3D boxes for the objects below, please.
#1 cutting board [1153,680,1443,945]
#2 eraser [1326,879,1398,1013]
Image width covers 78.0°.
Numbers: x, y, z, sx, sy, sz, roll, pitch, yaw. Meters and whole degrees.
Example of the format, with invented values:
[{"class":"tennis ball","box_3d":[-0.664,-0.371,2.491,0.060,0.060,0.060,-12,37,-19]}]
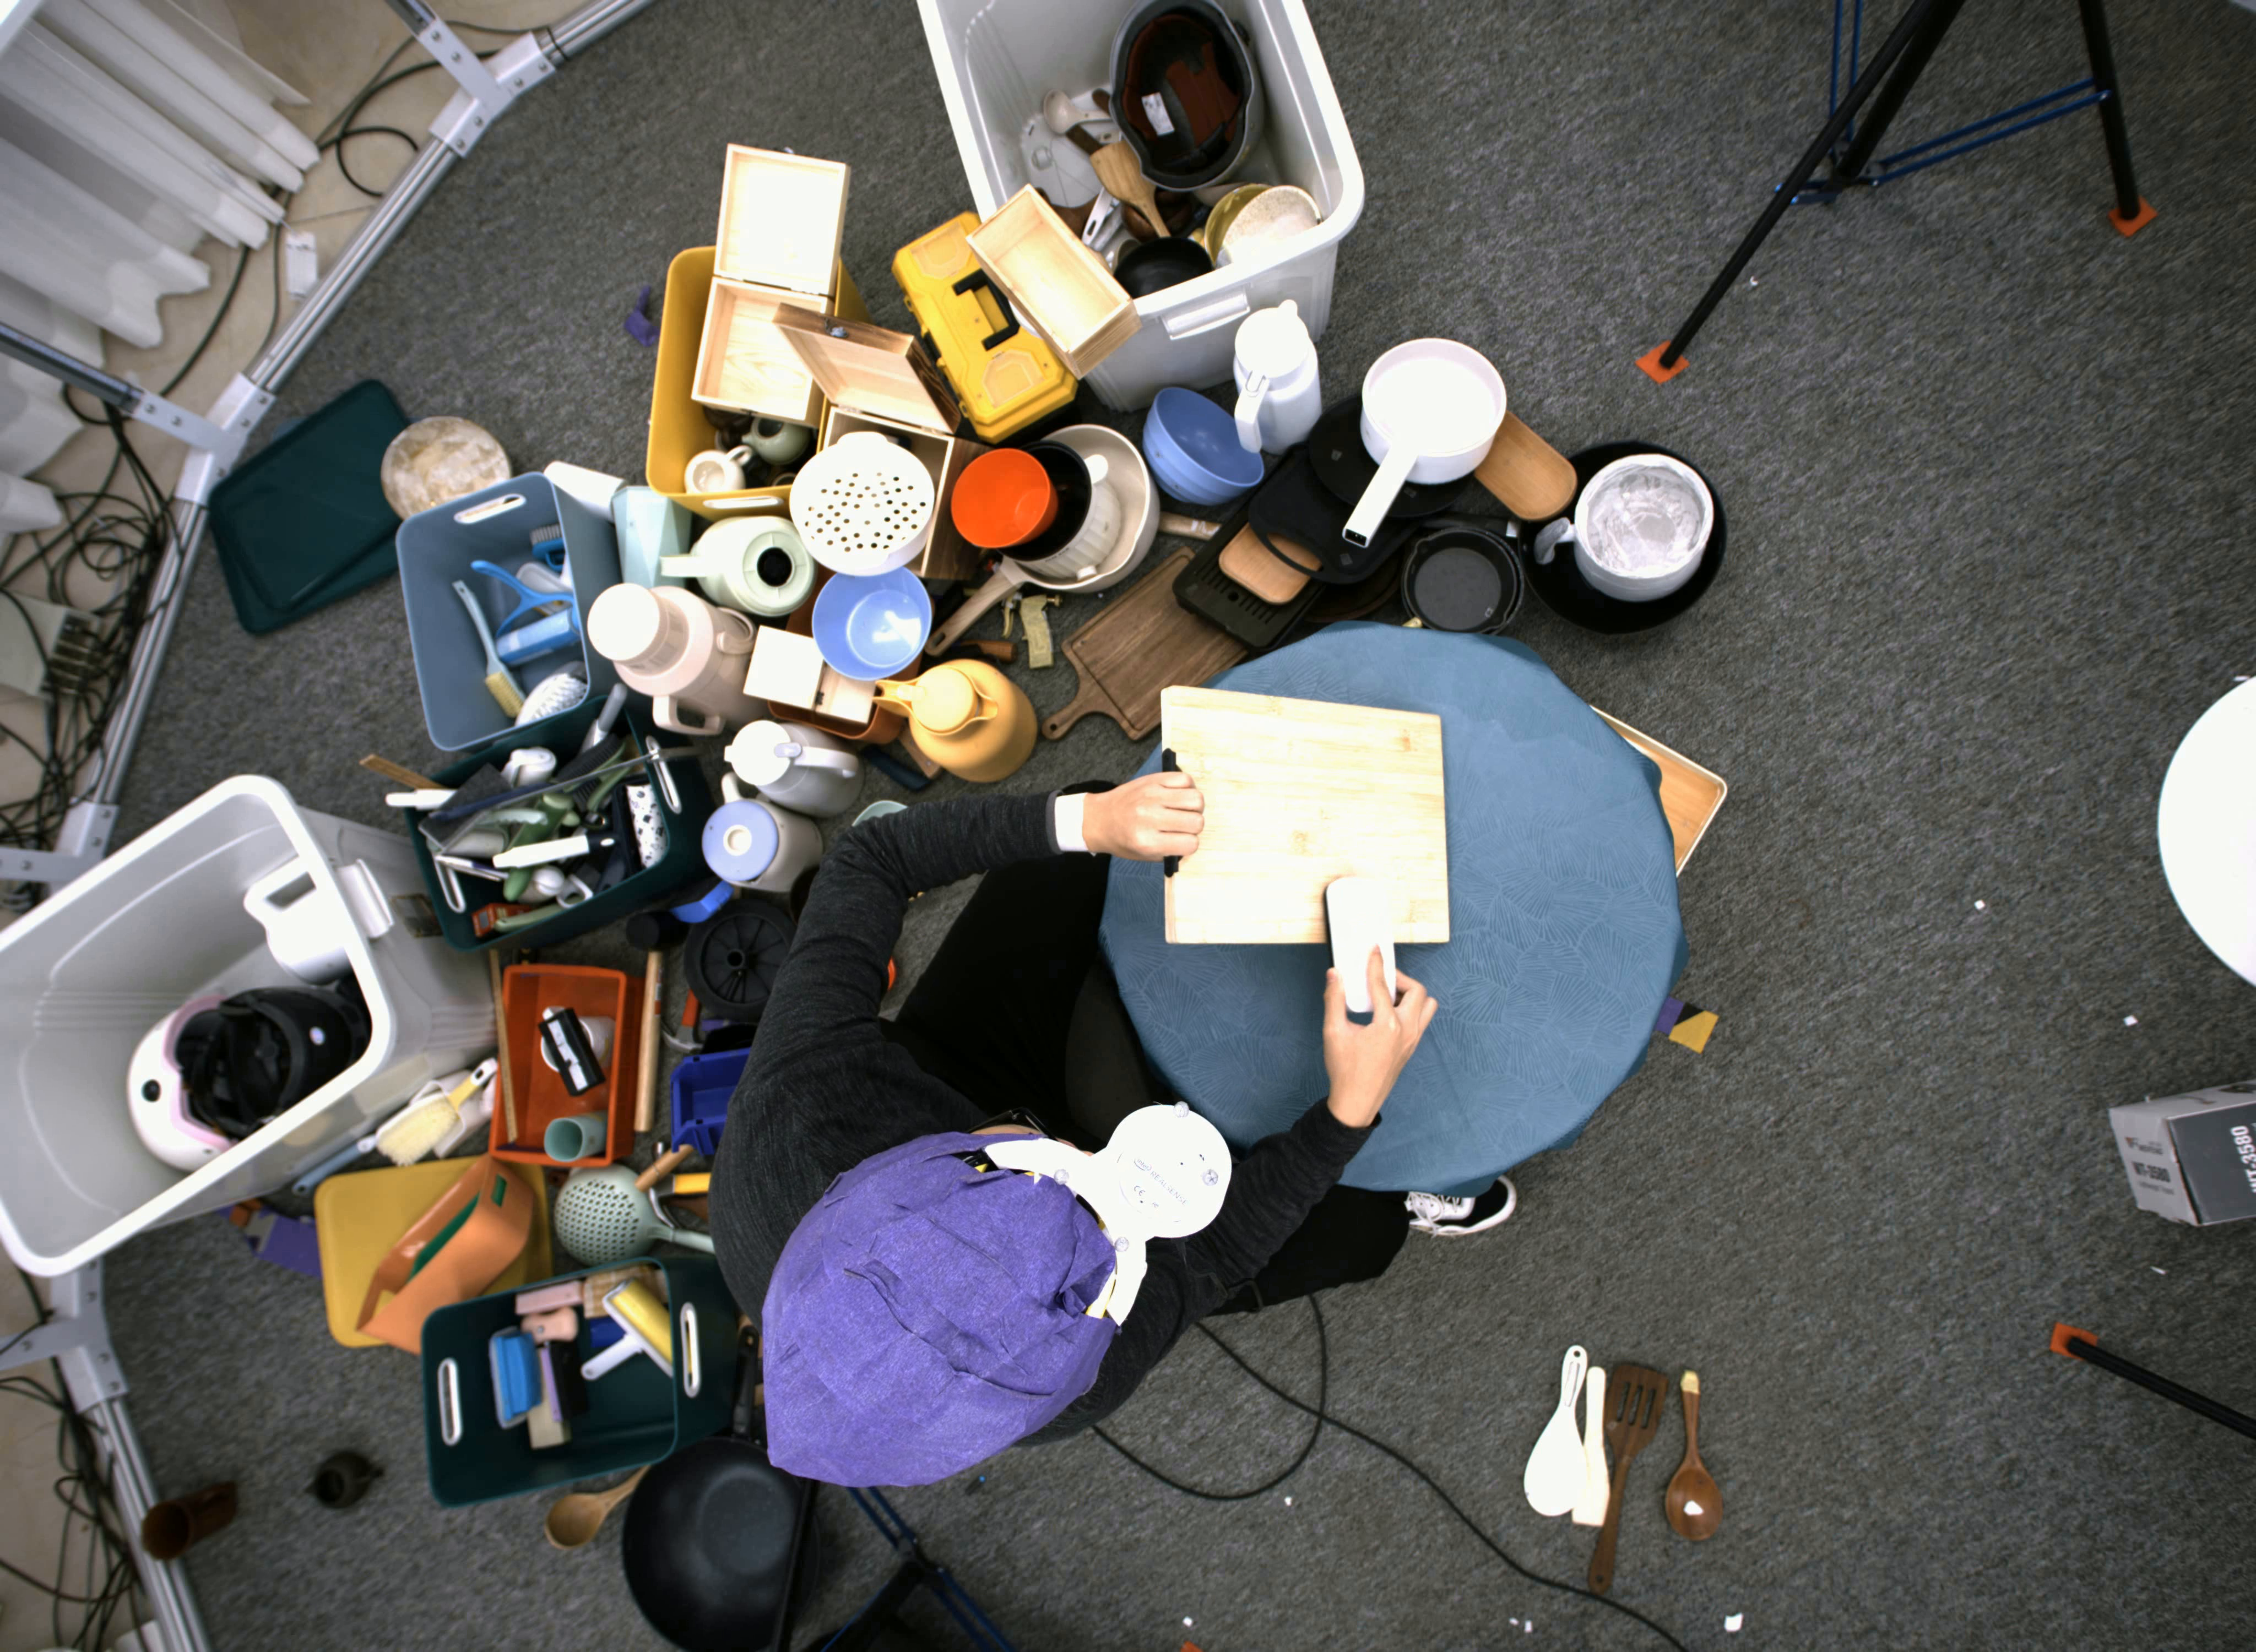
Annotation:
[{"class":"cutting board","box_3d":[0.176,-0.006,1.360,0.347,0.024,0.249,1,86,-30]},{"class":"eraser","box_3d":[0.227,0.116,1.343,0.063,0.035,0.129,4,75,-29]}]
